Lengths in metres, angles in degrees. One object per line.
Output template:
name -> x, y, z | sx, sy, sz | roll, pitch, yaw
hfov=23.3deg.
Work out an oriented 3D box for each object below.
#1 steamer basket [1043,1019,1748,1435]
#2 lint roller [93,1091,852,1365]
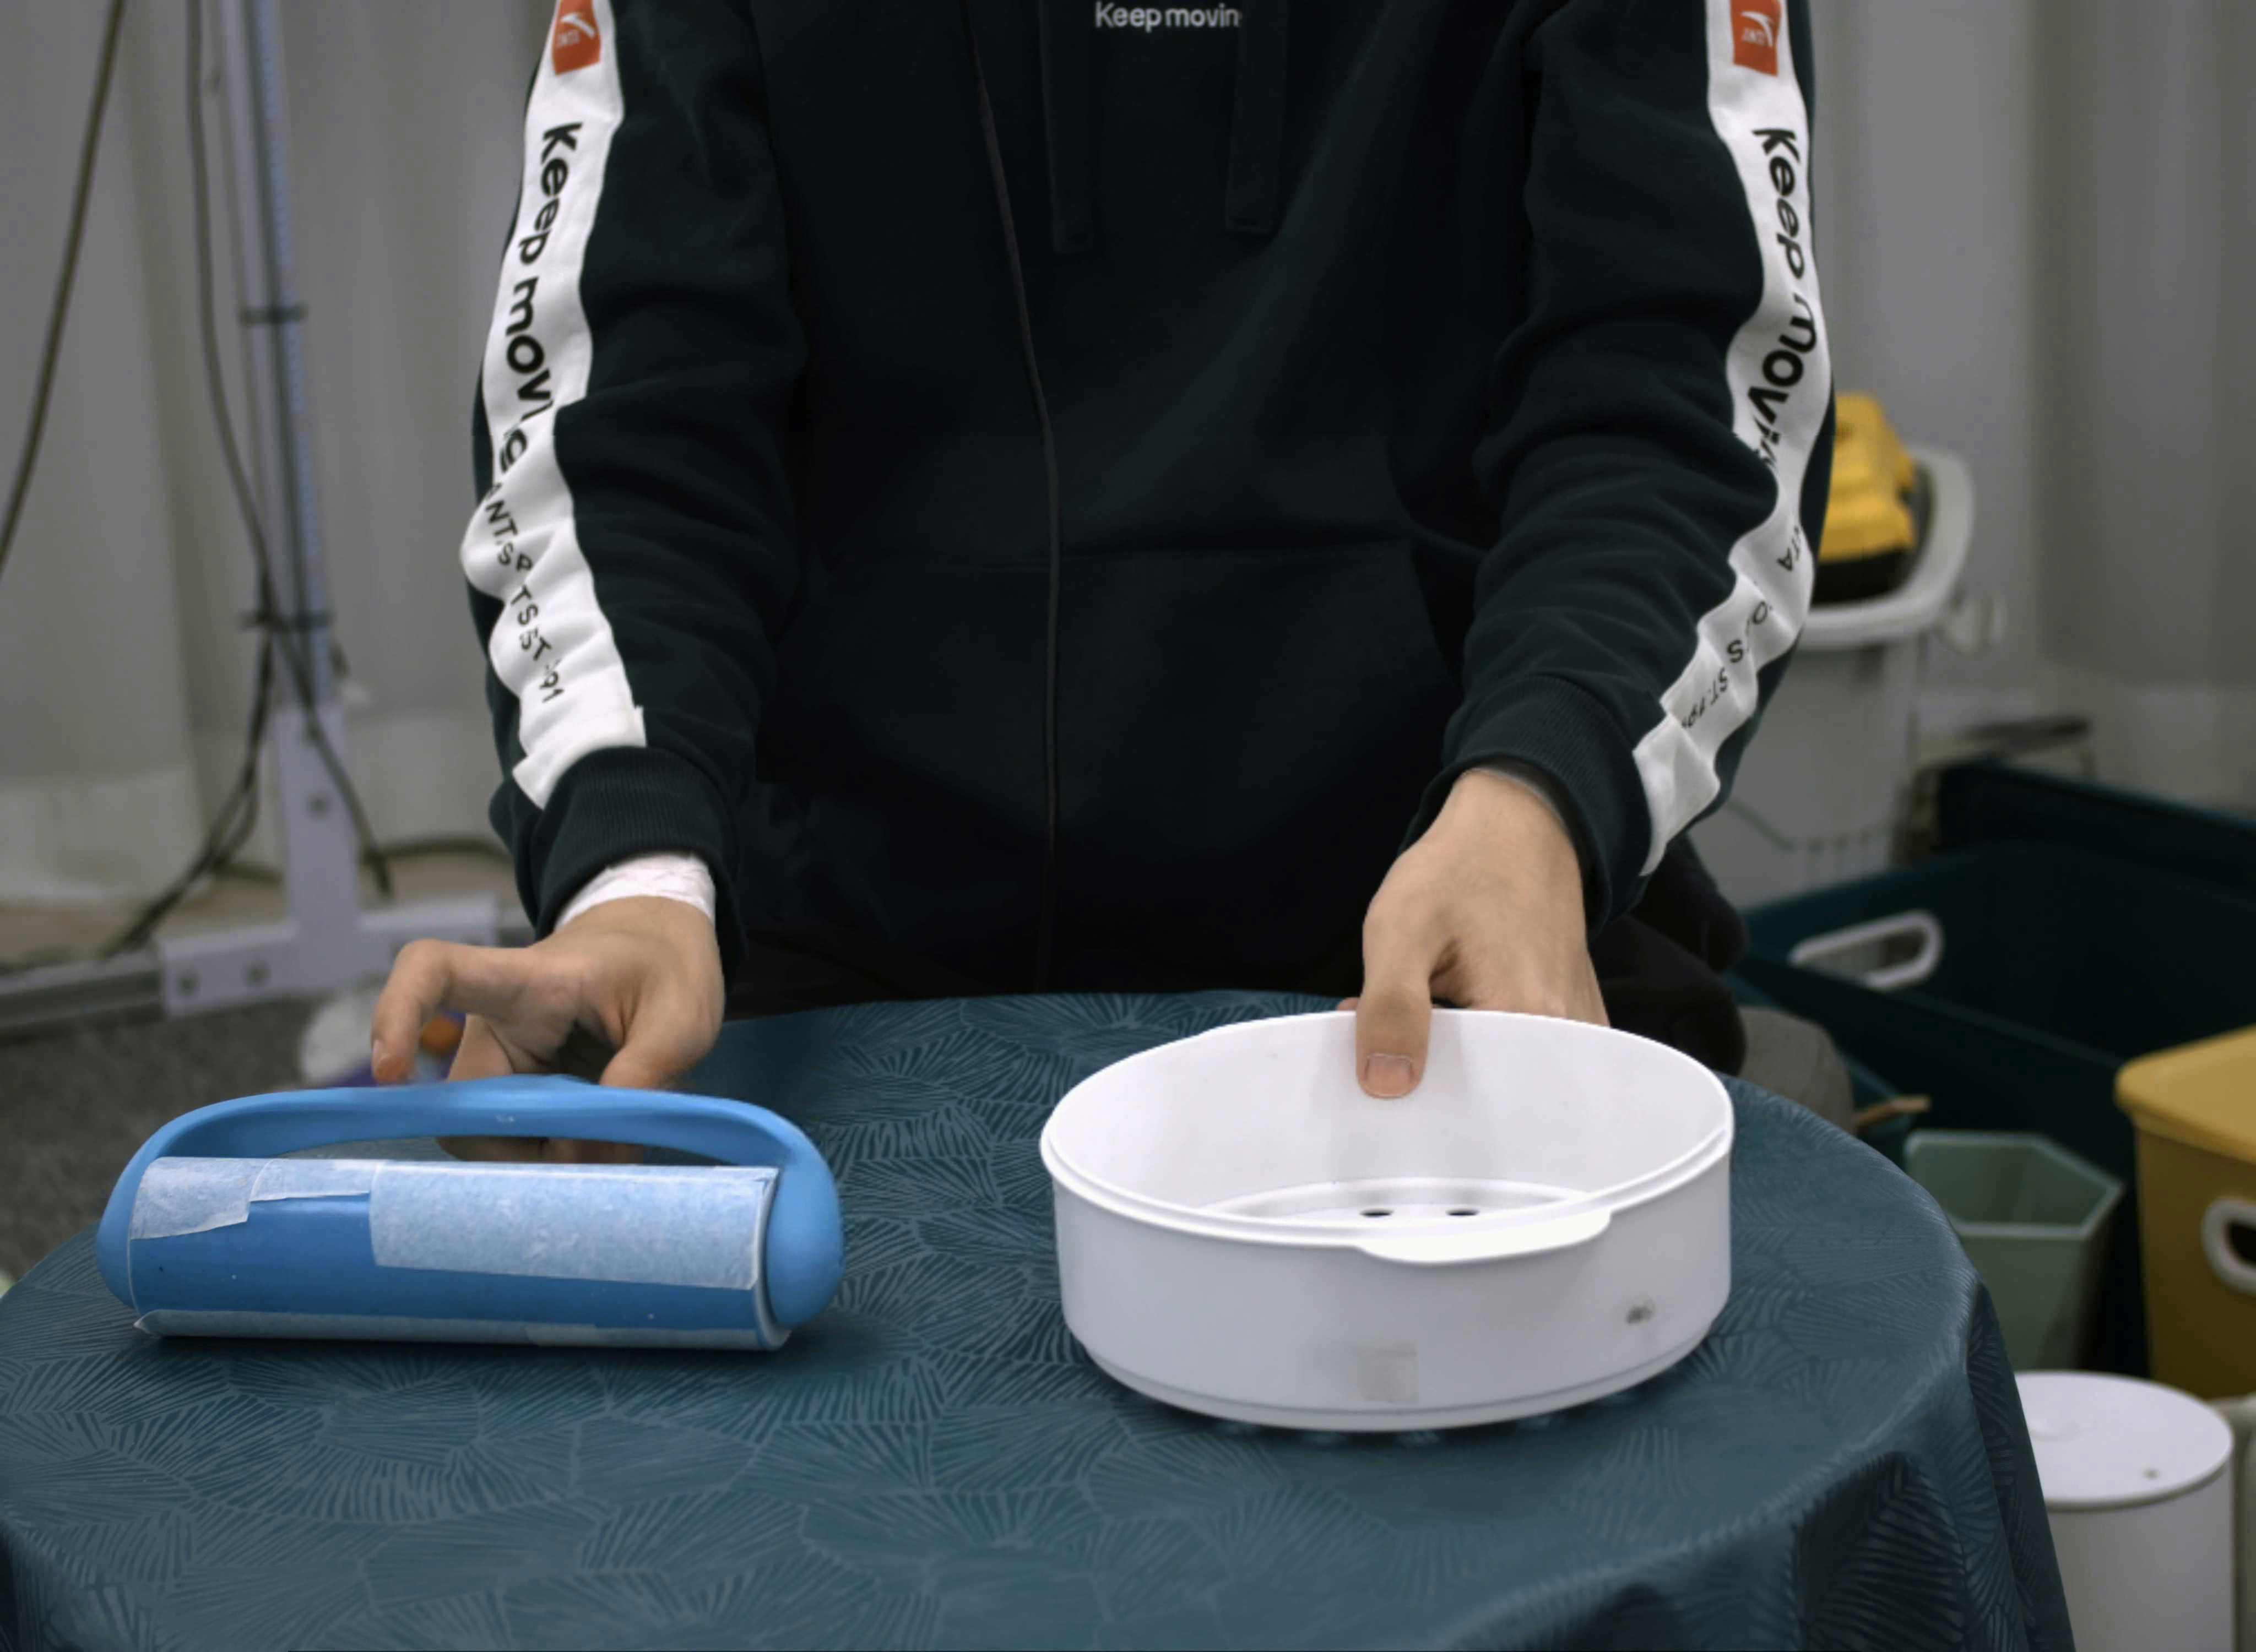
steamer basket -> 0.077, 0.114, 1.567 | 0.201, 0.069, 0.232 | -5, 14, -12
lint roller -> -0.186, 0.111, 1.662 | 0.228, 0.067, 0.181 | -4, 16, 8
